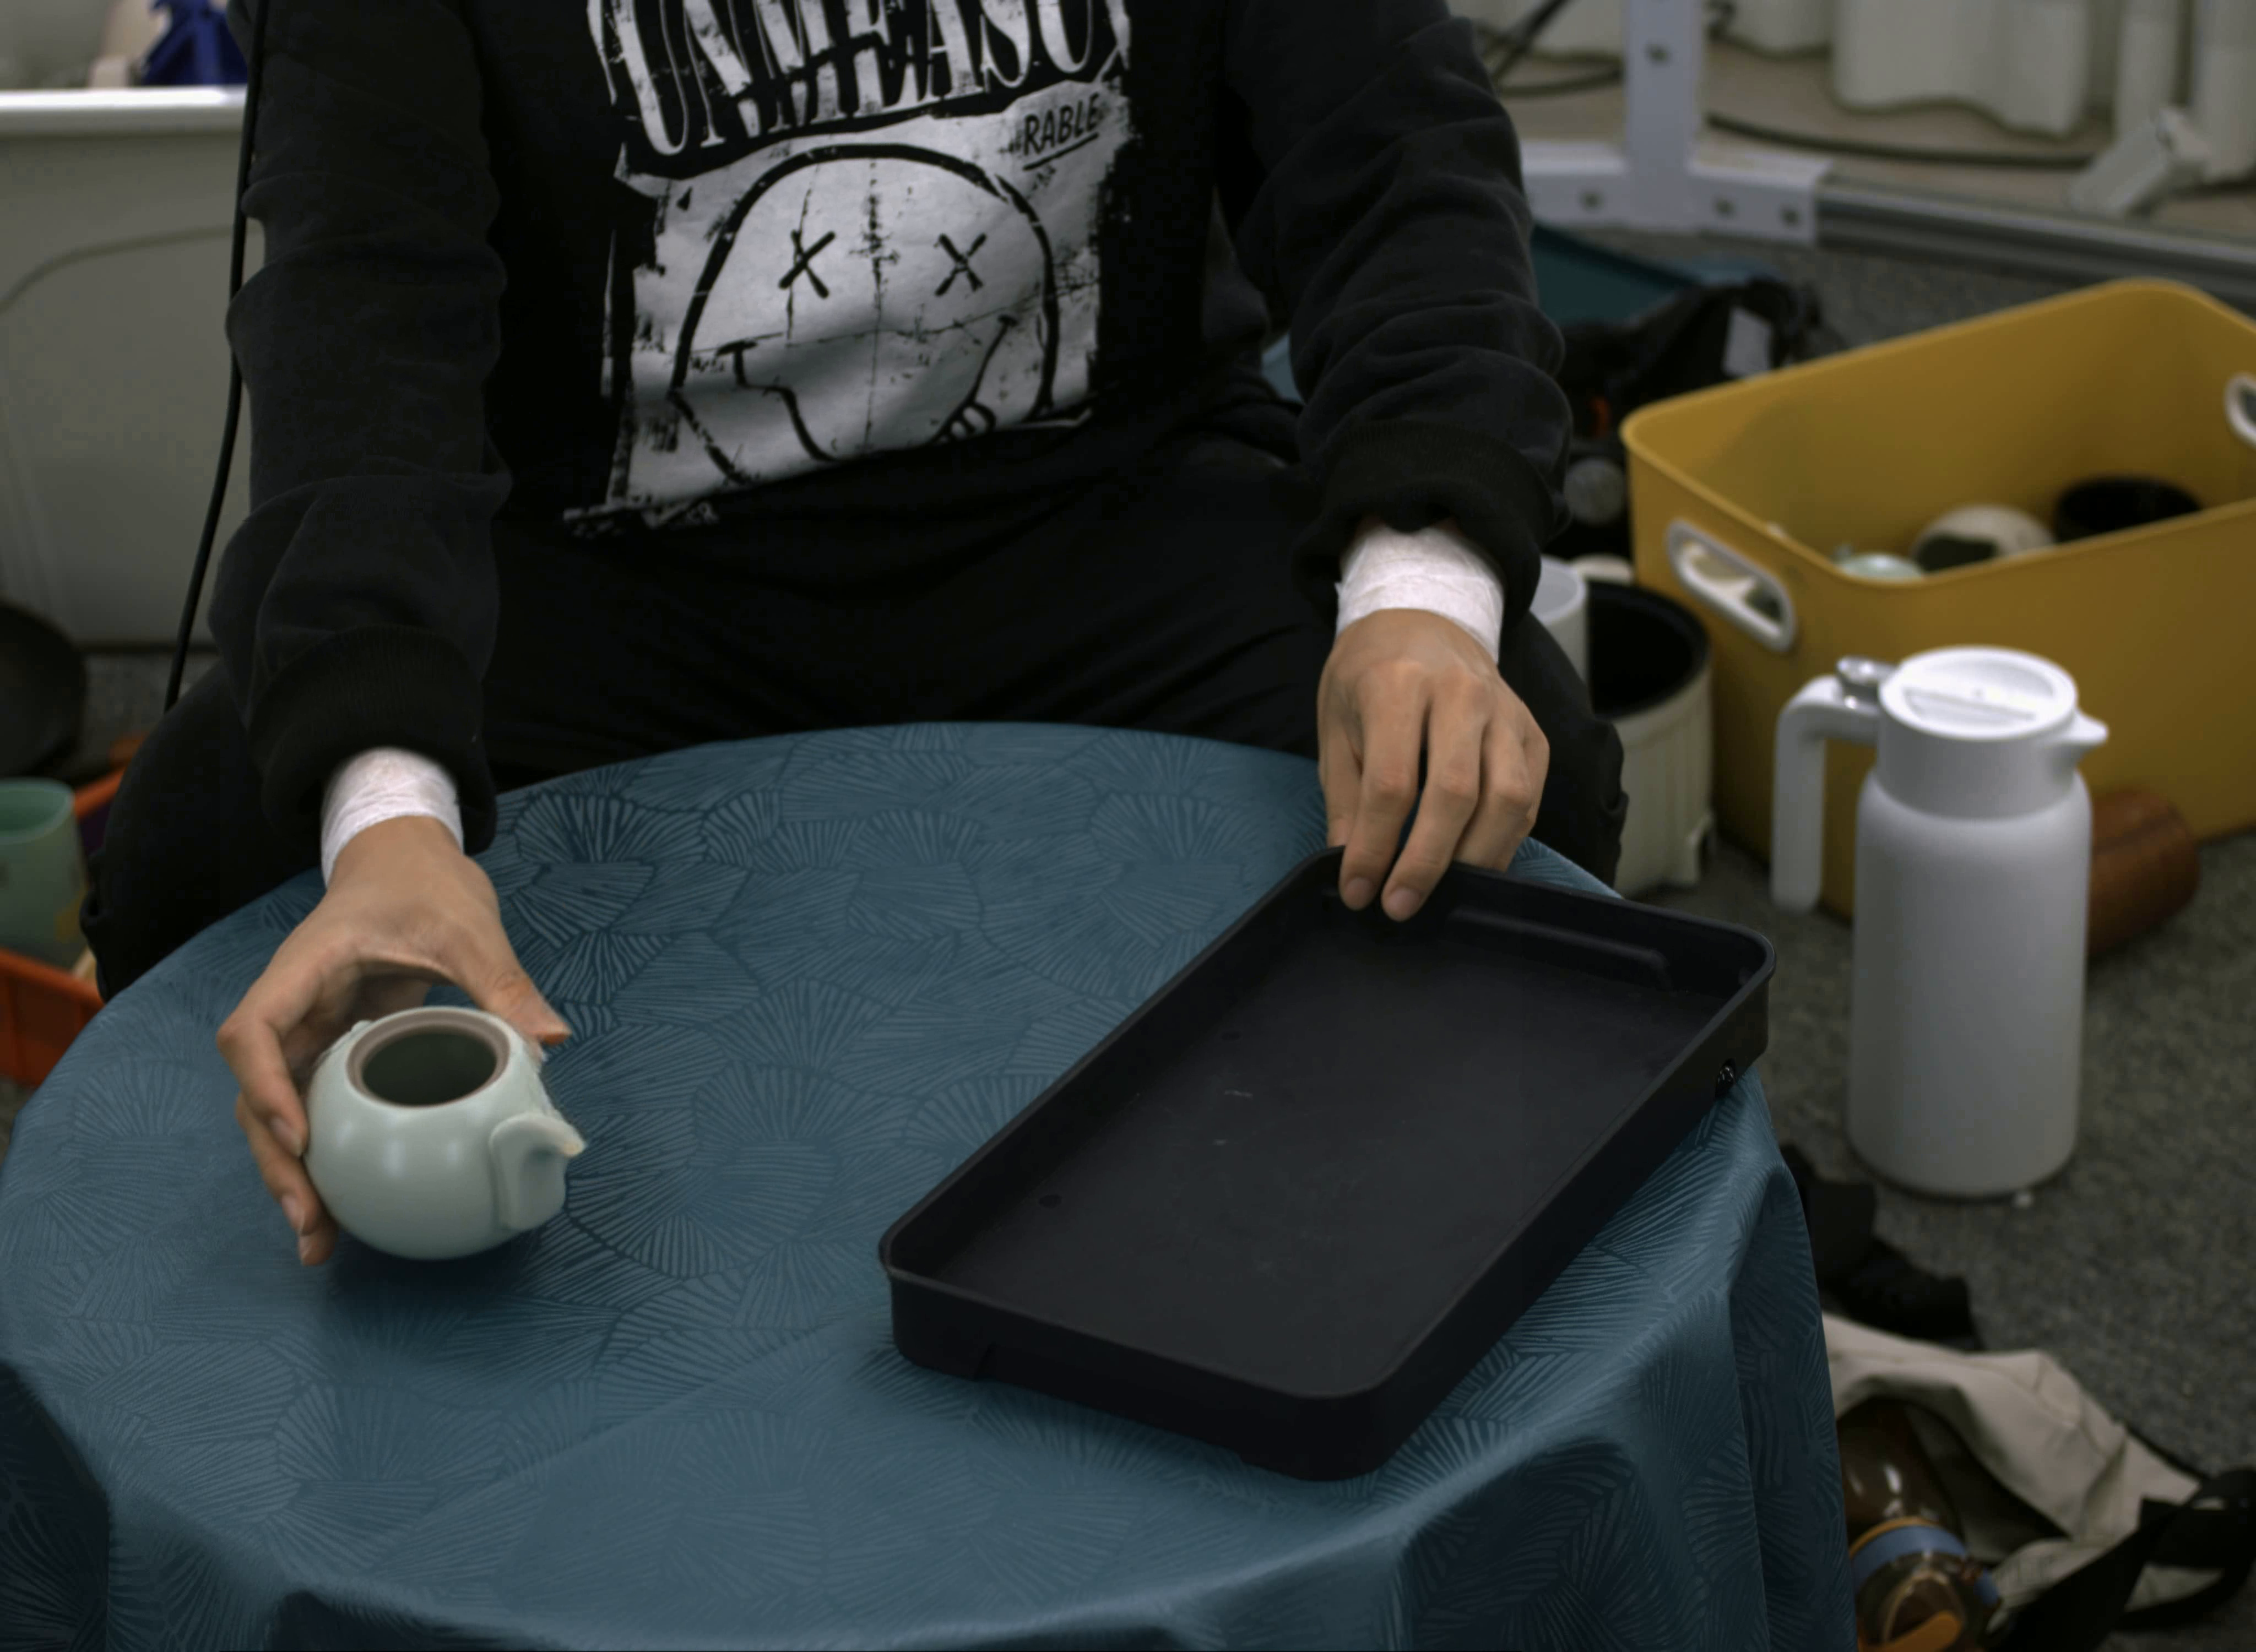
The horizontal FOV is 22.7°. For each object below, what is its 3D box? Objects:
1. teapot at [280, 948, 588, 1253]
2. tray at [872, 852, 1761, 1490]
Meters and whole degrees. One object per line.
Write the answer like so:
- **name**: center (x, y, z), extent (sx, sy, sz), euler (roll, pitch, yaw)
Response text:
- **teapot**: center (-0.224, 0.097, 1.823), extent (0.144, 0.074, 0.089), euler (29, 44, 35)
- **tray**: center (0.068, 0.106, 1.845), extent (0.183, 0.036, 0.323), euler (12, 31, 26)
